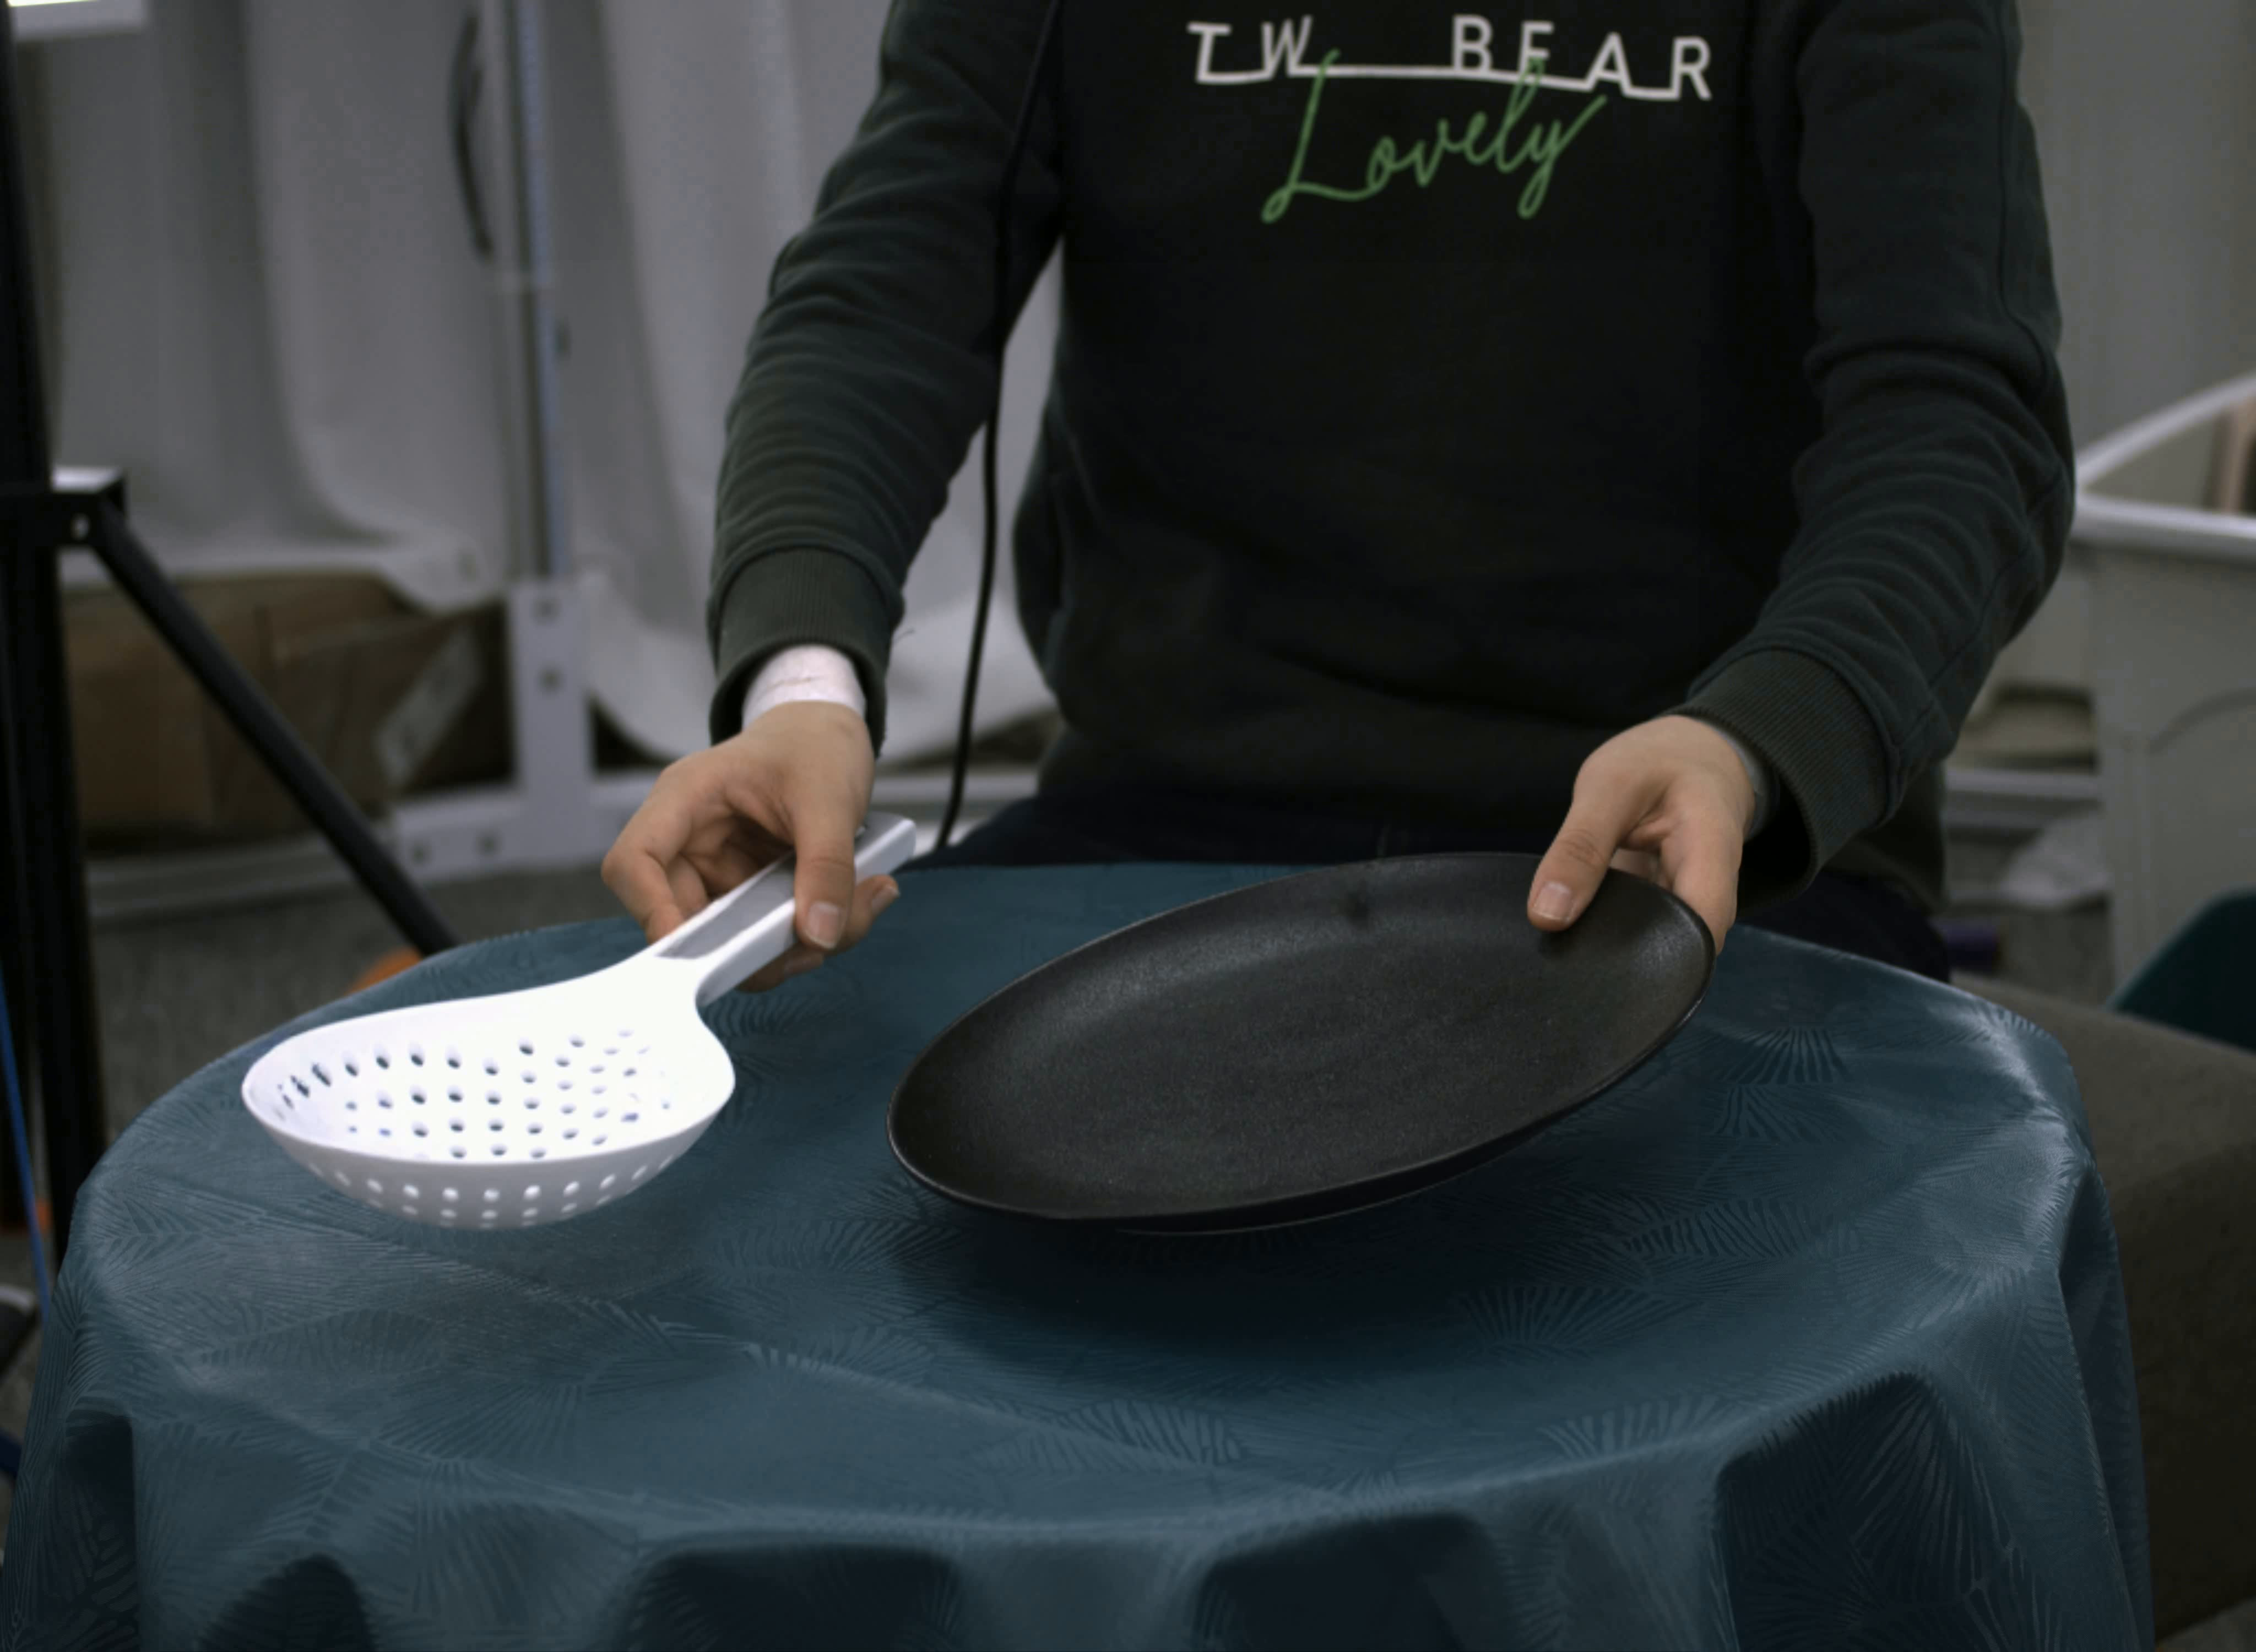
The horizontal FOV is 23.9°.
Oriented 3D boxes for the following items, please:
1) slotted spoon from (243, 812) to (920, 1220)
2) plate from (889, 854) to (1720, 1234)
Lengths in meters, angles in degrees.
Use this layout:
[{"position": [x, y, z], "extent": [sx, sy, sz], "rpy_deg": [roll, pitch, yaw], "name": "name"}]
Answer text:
[{"position": [-0.140, 0.047, 1.580], "extent": [0.137, 0.045, 0.346], "rpy_deg": [8, 22, 19], "name": "slotted spoon"}, {"position": [0.051, 0.066, 1.522], "extent": [0.244, 0.023, 0.246], "rpy_deg": [-13, 19, 3], "name": "plate"}]
